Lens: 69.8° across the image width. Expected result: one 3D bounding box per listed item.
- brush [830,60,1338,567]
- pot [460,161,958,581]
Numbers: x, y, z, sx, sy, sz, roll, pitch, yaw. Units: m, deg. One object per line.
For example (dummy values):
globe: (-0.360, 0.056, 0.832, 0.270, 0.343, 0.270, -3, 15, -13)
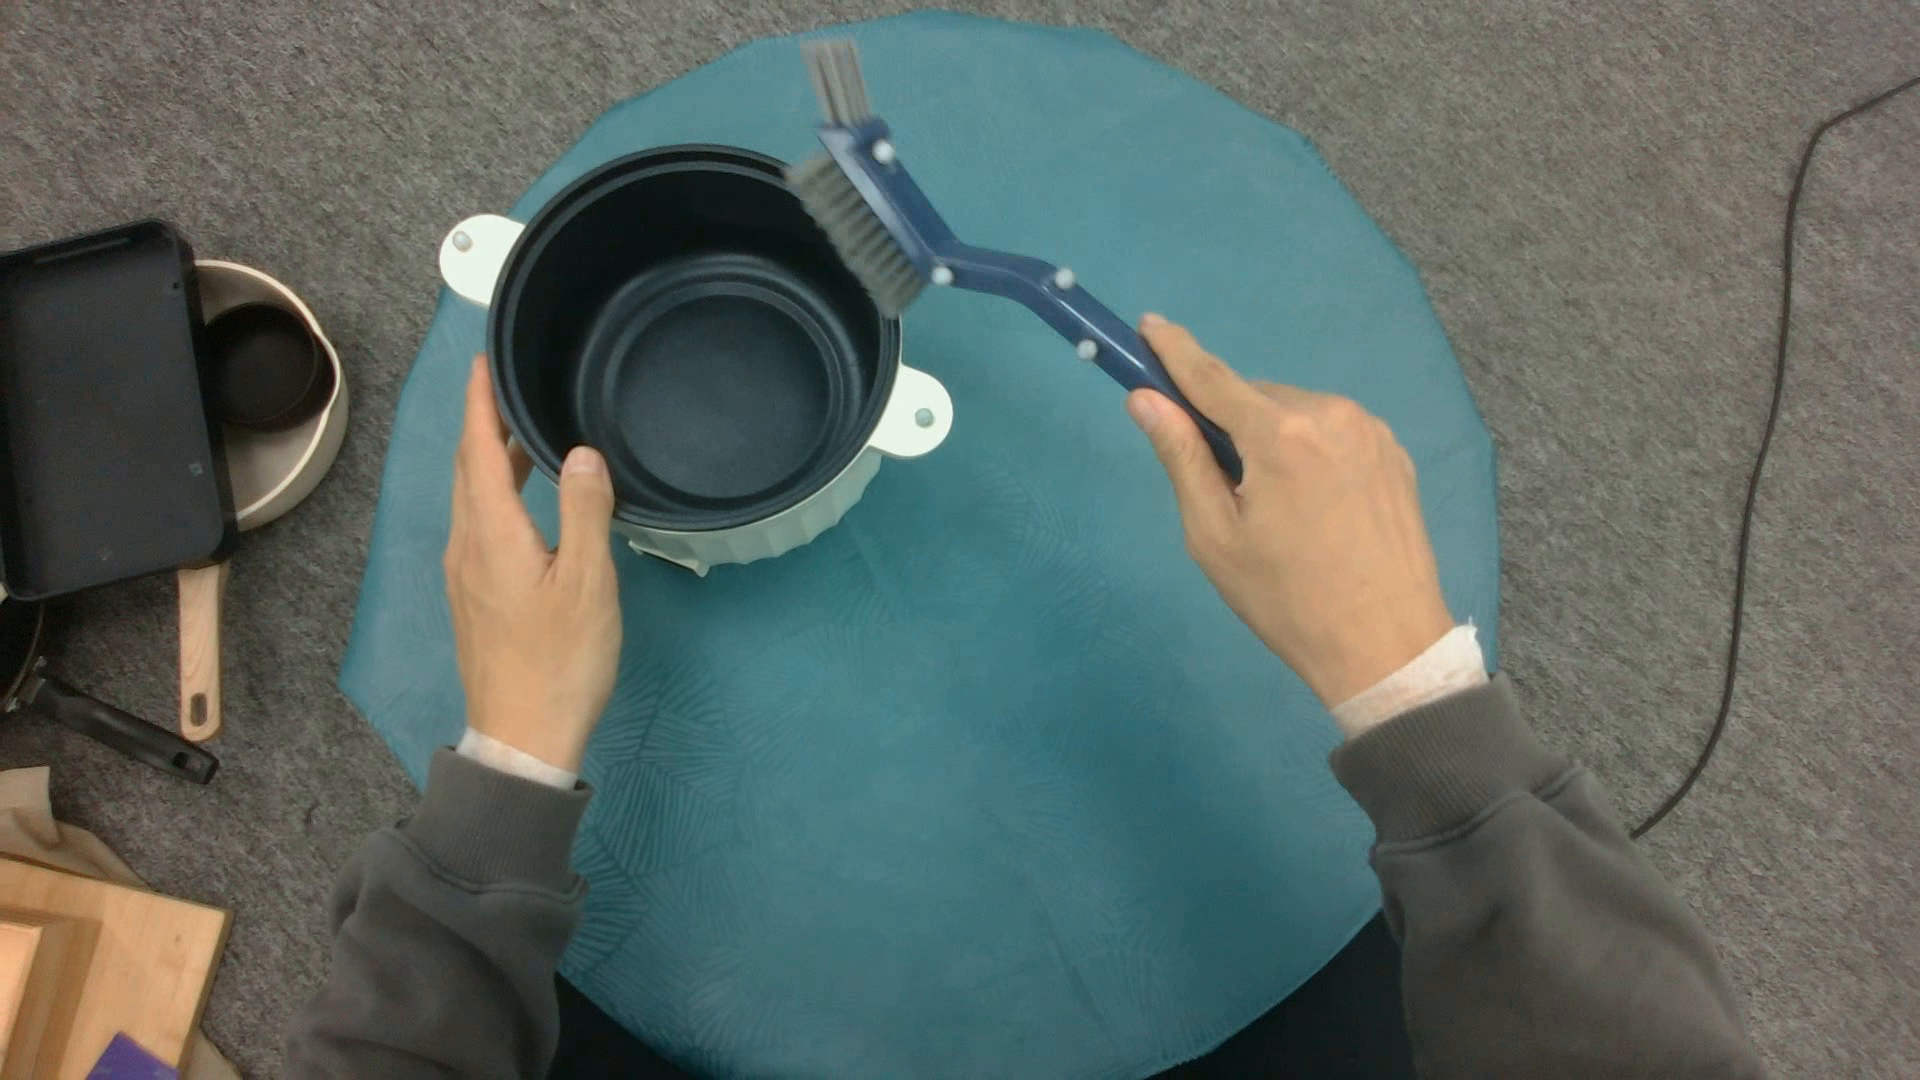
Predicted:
brush: (0.052, -0.093, 0.570, 0.273, 0.095, 0.033, 35, 35, 14)
pot: (-0.116, -0.081, 0.691, 0.240, 0.142, 0.191, 20, 81, 1)
